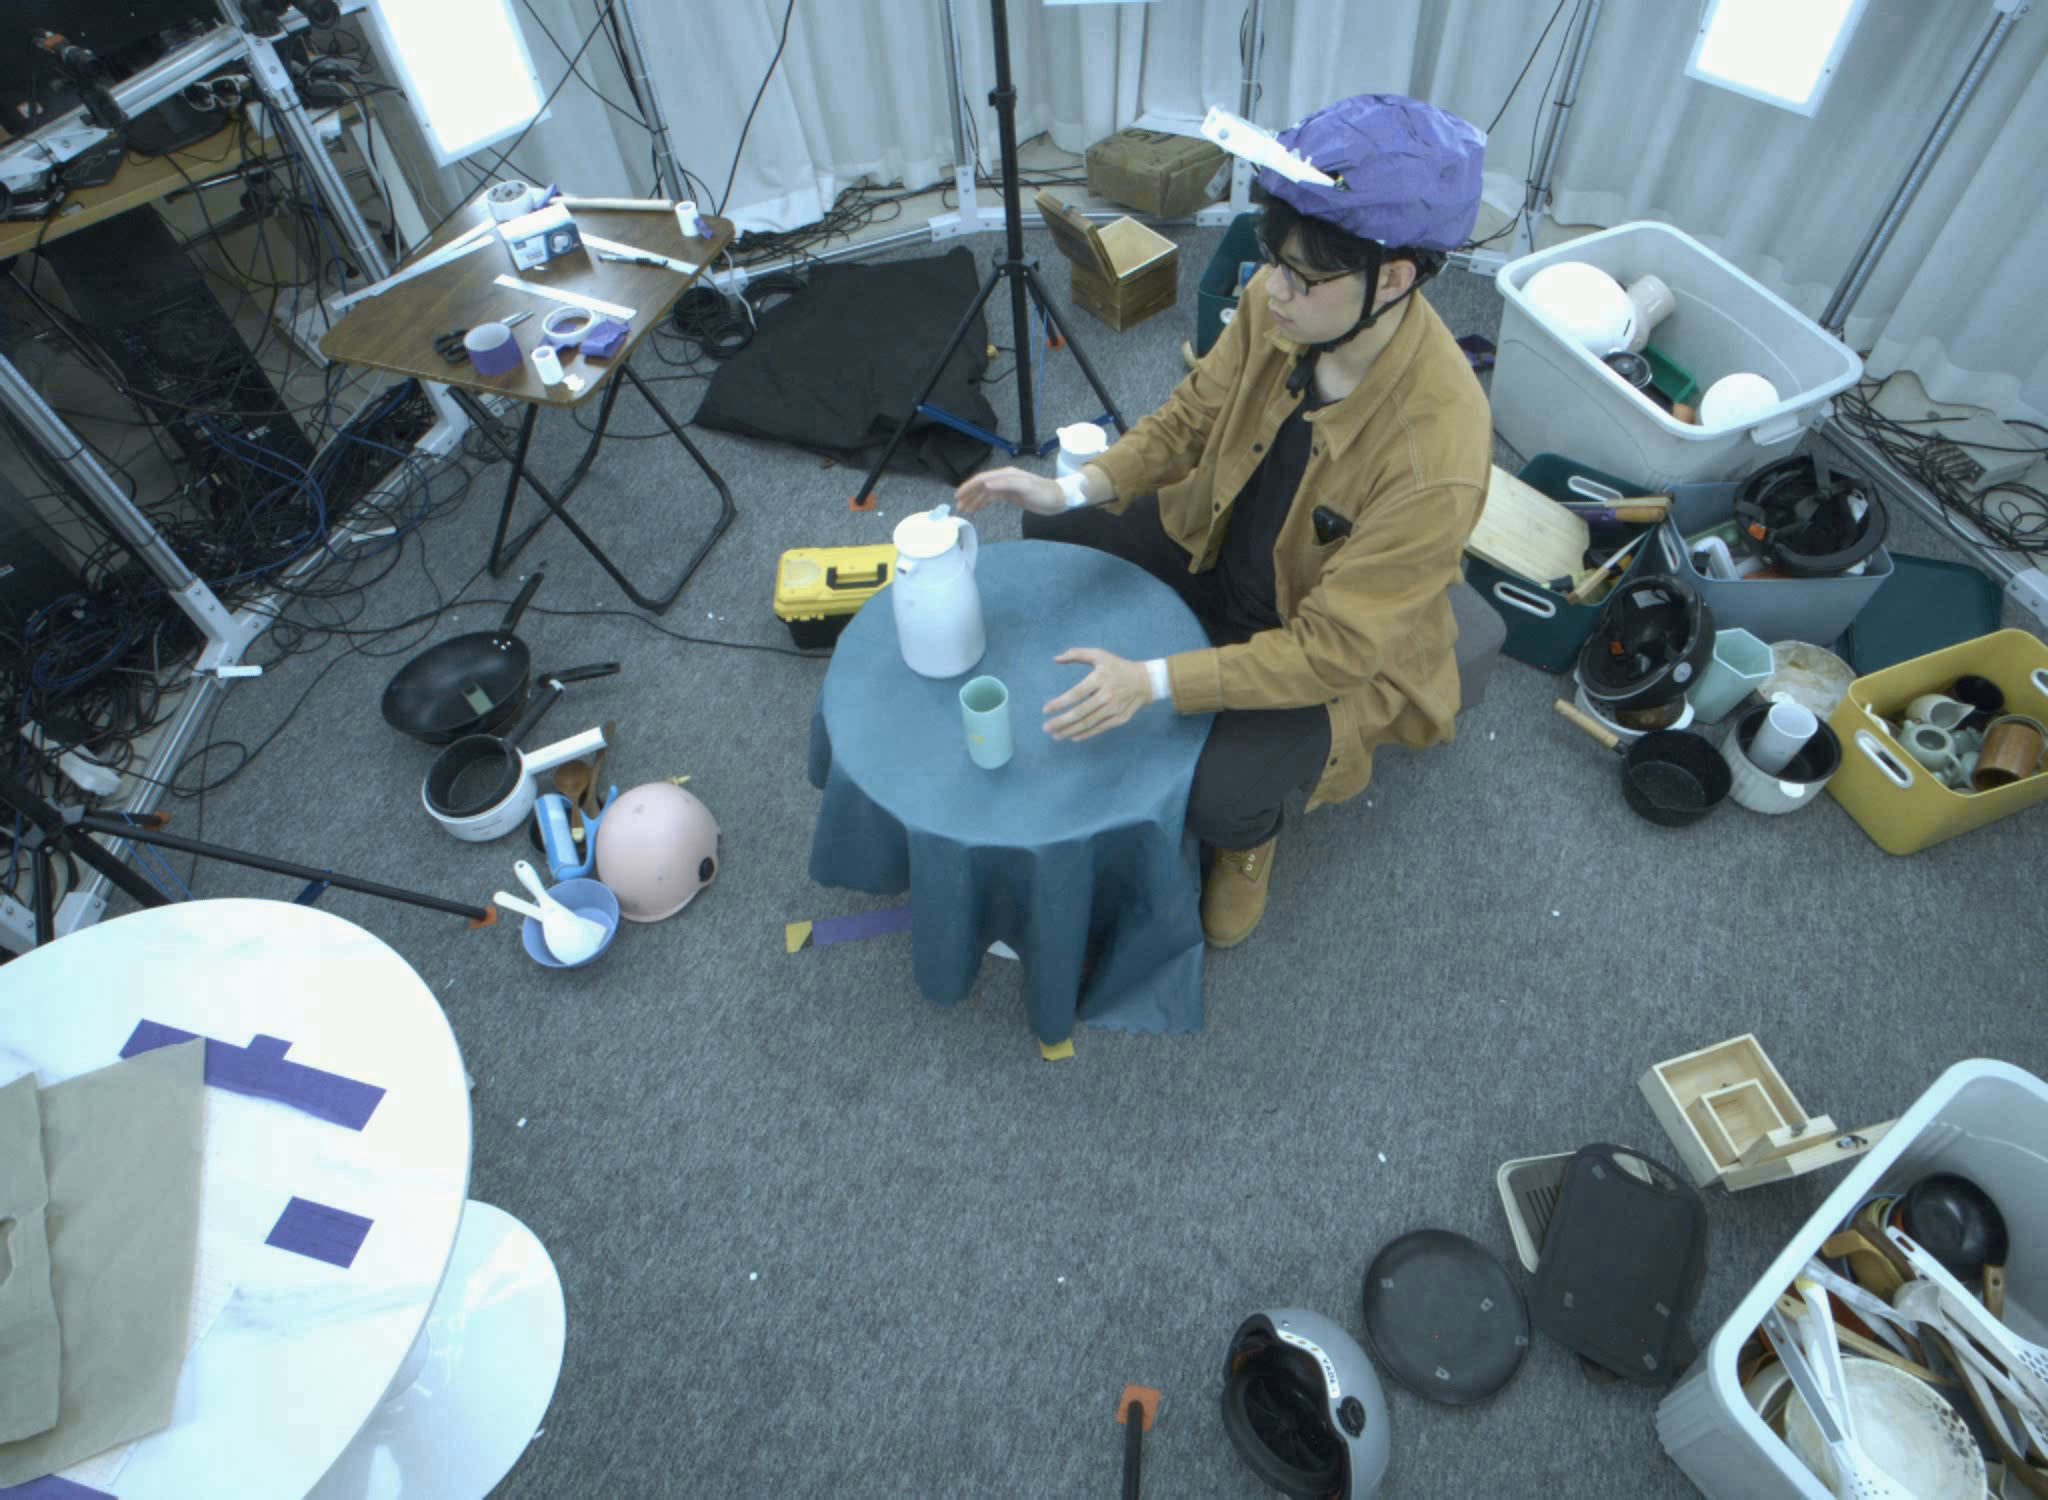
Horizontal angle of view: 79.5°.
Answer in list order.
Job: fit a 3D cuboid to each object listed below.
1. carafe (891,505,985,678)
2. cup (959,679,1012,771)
[{"bbox_3d":[-0.125,-0.248,1.811,0.130,0.251,0.168,23,58,19],"label":"carafe"},{"bbox_3d":[-0.052,-0.035,1.733,0.066,0.134,0.066,-1,55,3],"label":"cup"}]
